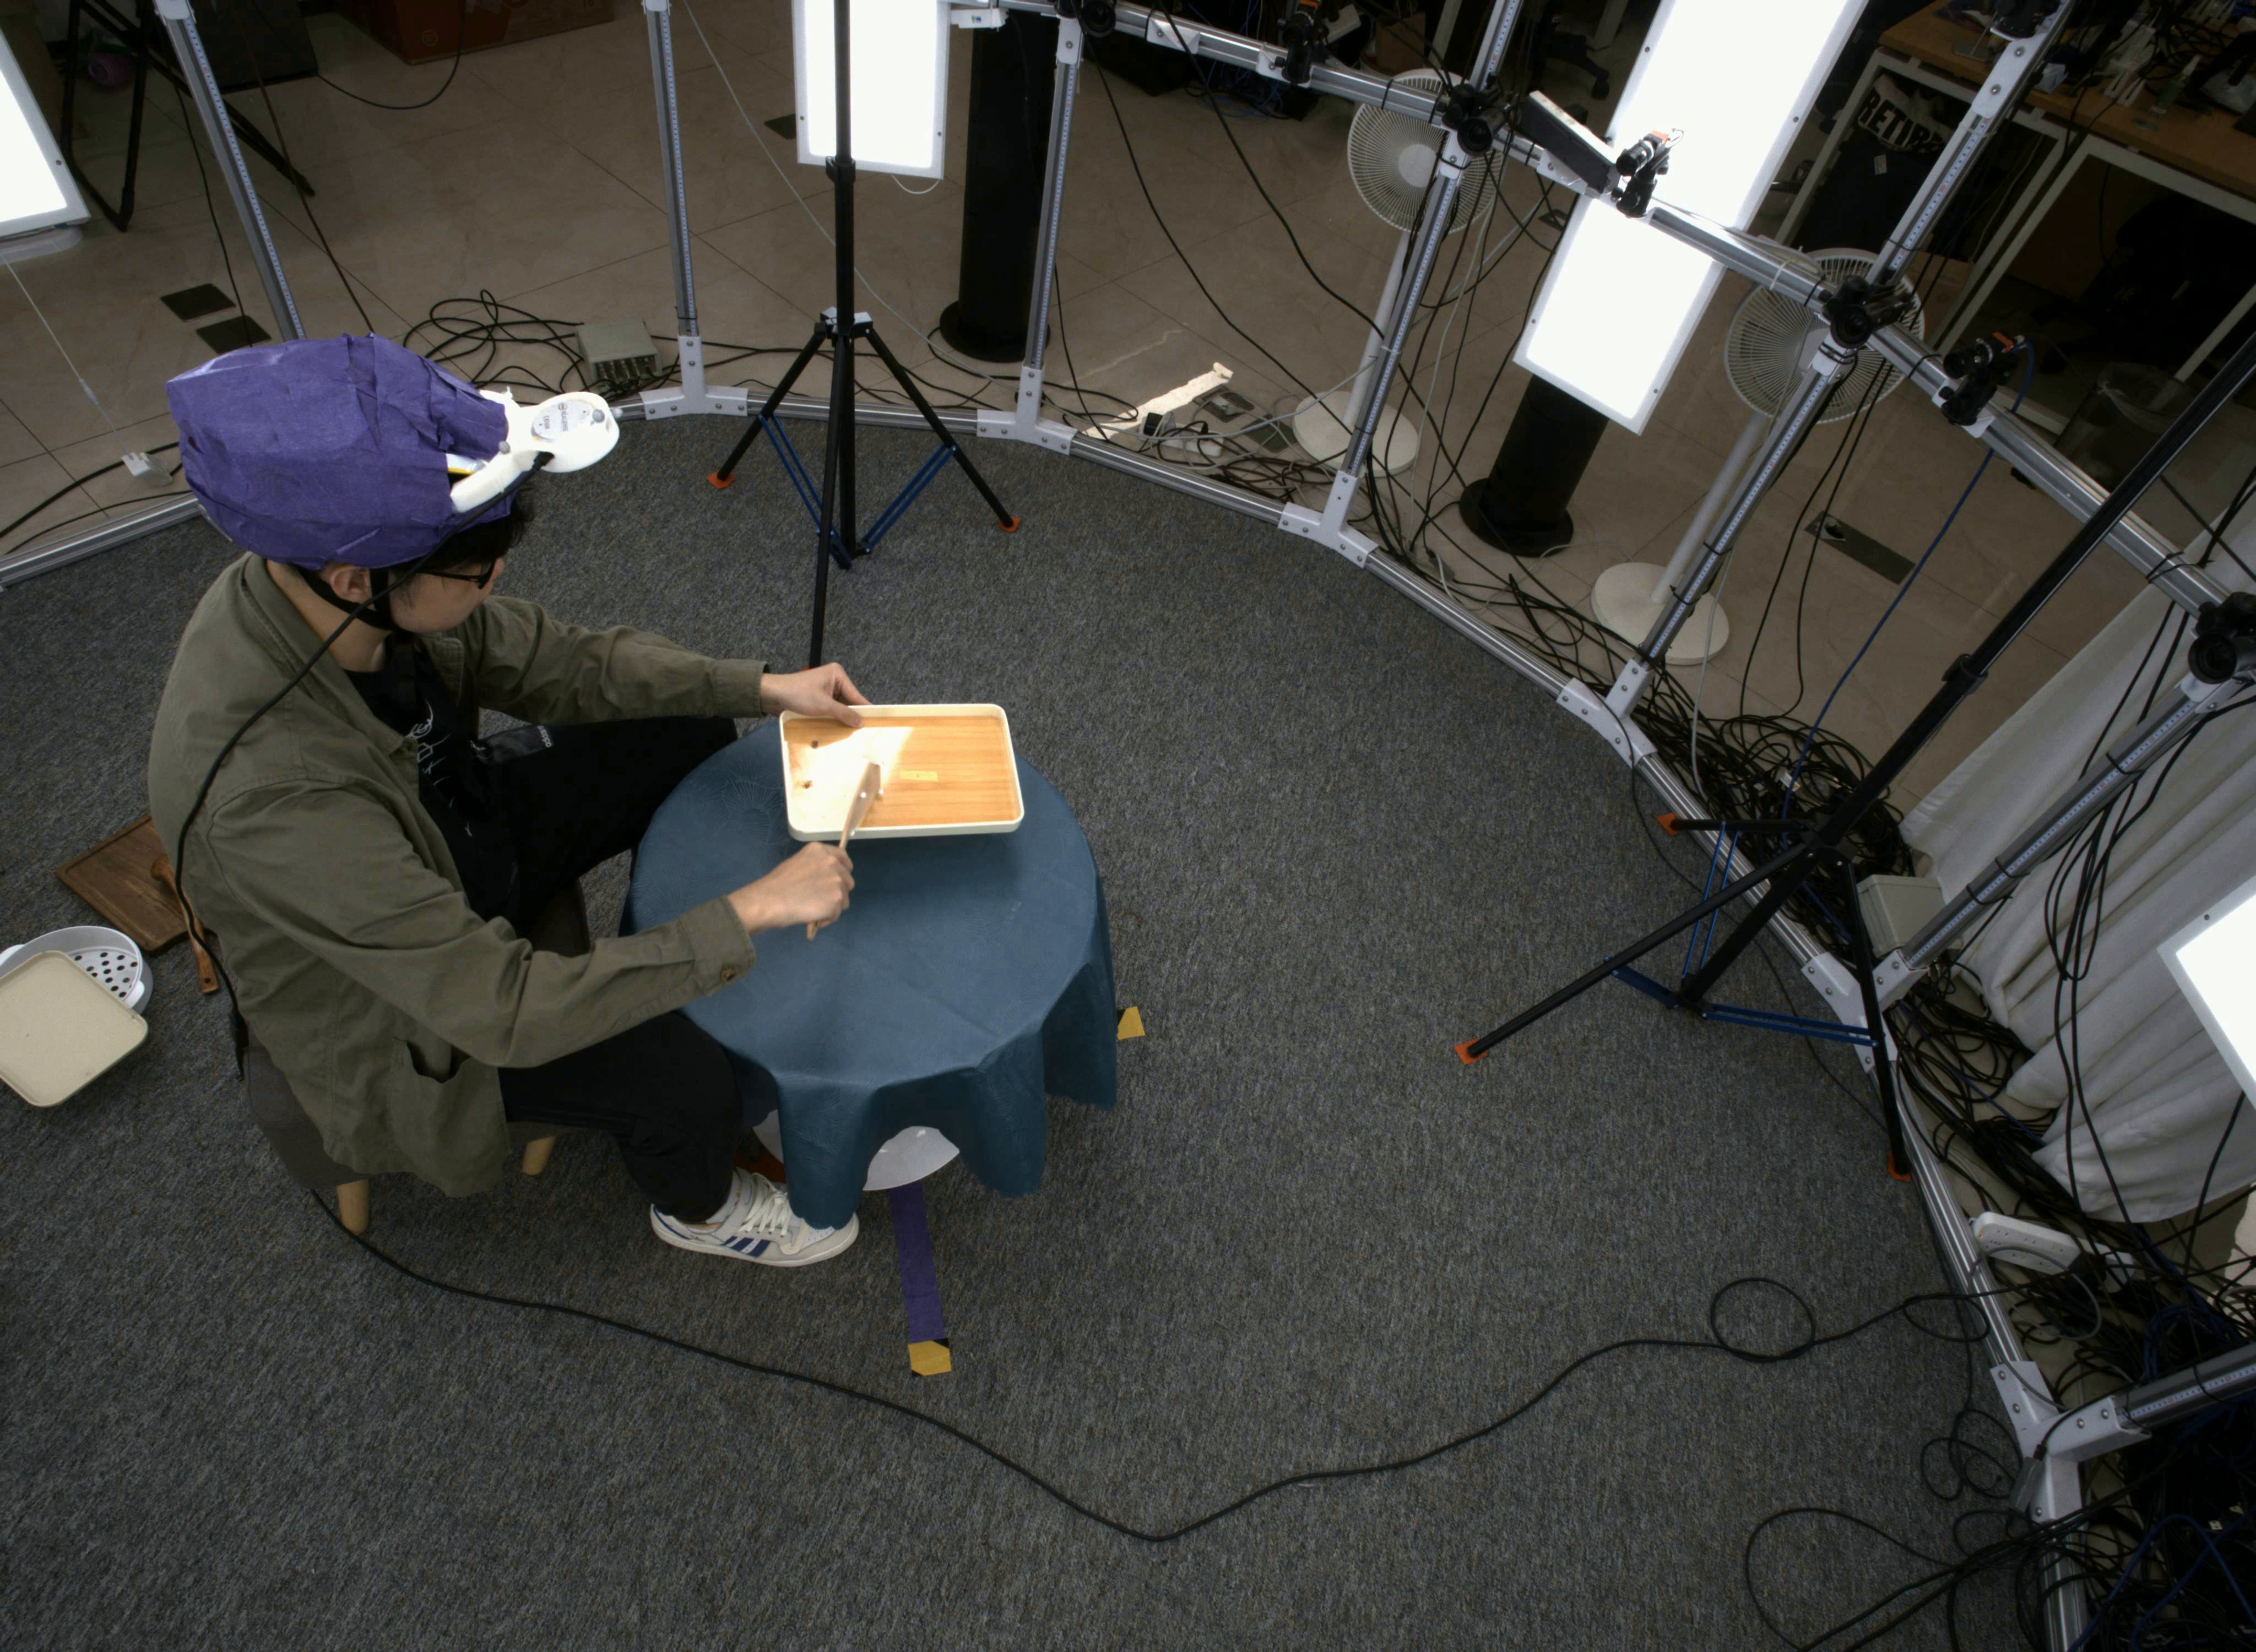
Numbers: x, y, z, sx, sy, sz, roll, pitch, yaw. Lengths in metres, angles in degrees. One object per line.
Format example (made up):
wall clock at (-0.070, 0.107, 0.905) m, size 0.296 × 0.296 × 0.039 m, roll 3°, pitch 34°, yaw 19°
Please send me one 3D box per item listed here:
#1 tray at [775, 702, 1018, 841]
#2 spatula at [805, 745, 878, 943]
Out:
tray at (-0.301, -0.074, 1.691) m, size 0.302 × 0.028 × 0.188 m, roll -3°, pitch 61°, yaw -19°
spatula at (-0.334, 0.019, 1.529) m, size 0.016 × 0.082 × 0.321 m, roll 9°, pitch 39°, yaw -3°
